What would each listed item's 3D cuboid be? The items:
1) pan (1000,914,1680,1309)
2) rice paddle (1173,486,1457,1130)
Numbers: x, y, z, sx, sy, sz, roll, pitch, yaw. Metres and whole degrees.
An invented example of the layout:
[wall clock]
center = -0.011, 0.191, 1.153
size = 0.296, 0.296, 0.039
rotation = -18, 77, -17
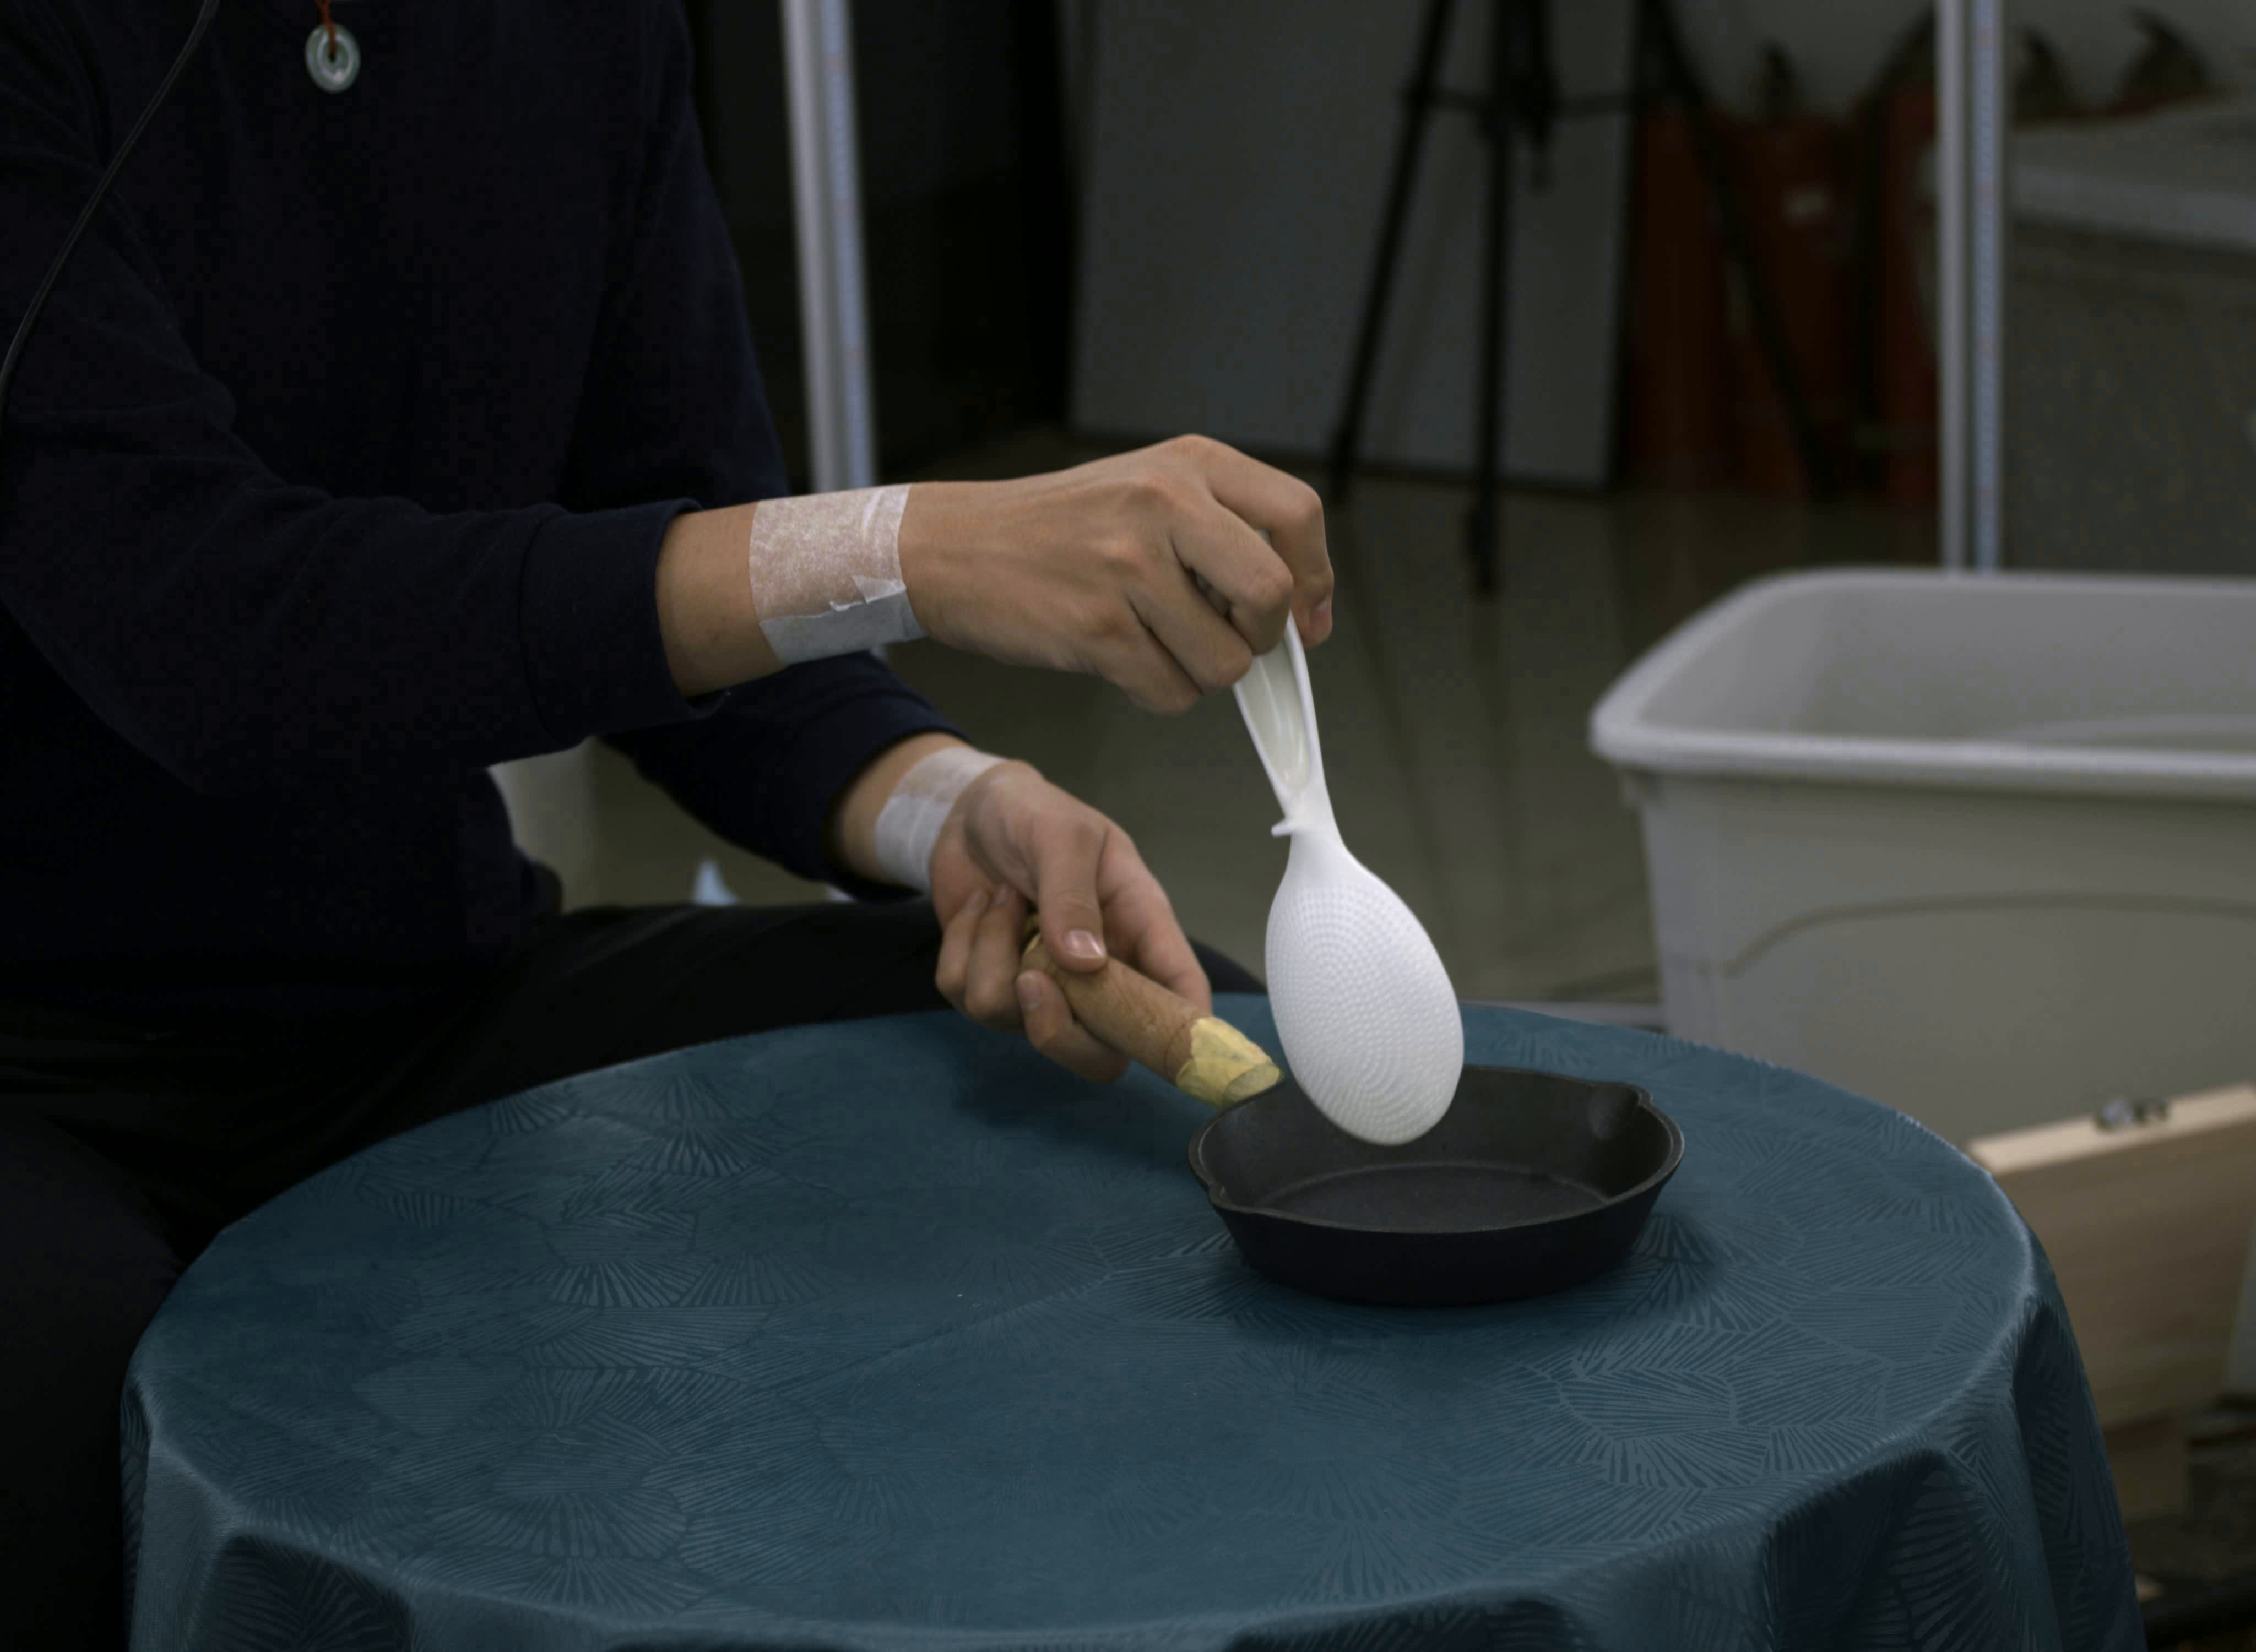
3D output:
[pan]
center = 0.051, 0.089, 1.761
size = 0.165, 0.050, 0.328
rotation = -12, 19, -30
[rice paddle]
center = 0.057, -0.003, 1.686
size = 0.069, 0.207, 0.029
rotation = -10, 11, 37
